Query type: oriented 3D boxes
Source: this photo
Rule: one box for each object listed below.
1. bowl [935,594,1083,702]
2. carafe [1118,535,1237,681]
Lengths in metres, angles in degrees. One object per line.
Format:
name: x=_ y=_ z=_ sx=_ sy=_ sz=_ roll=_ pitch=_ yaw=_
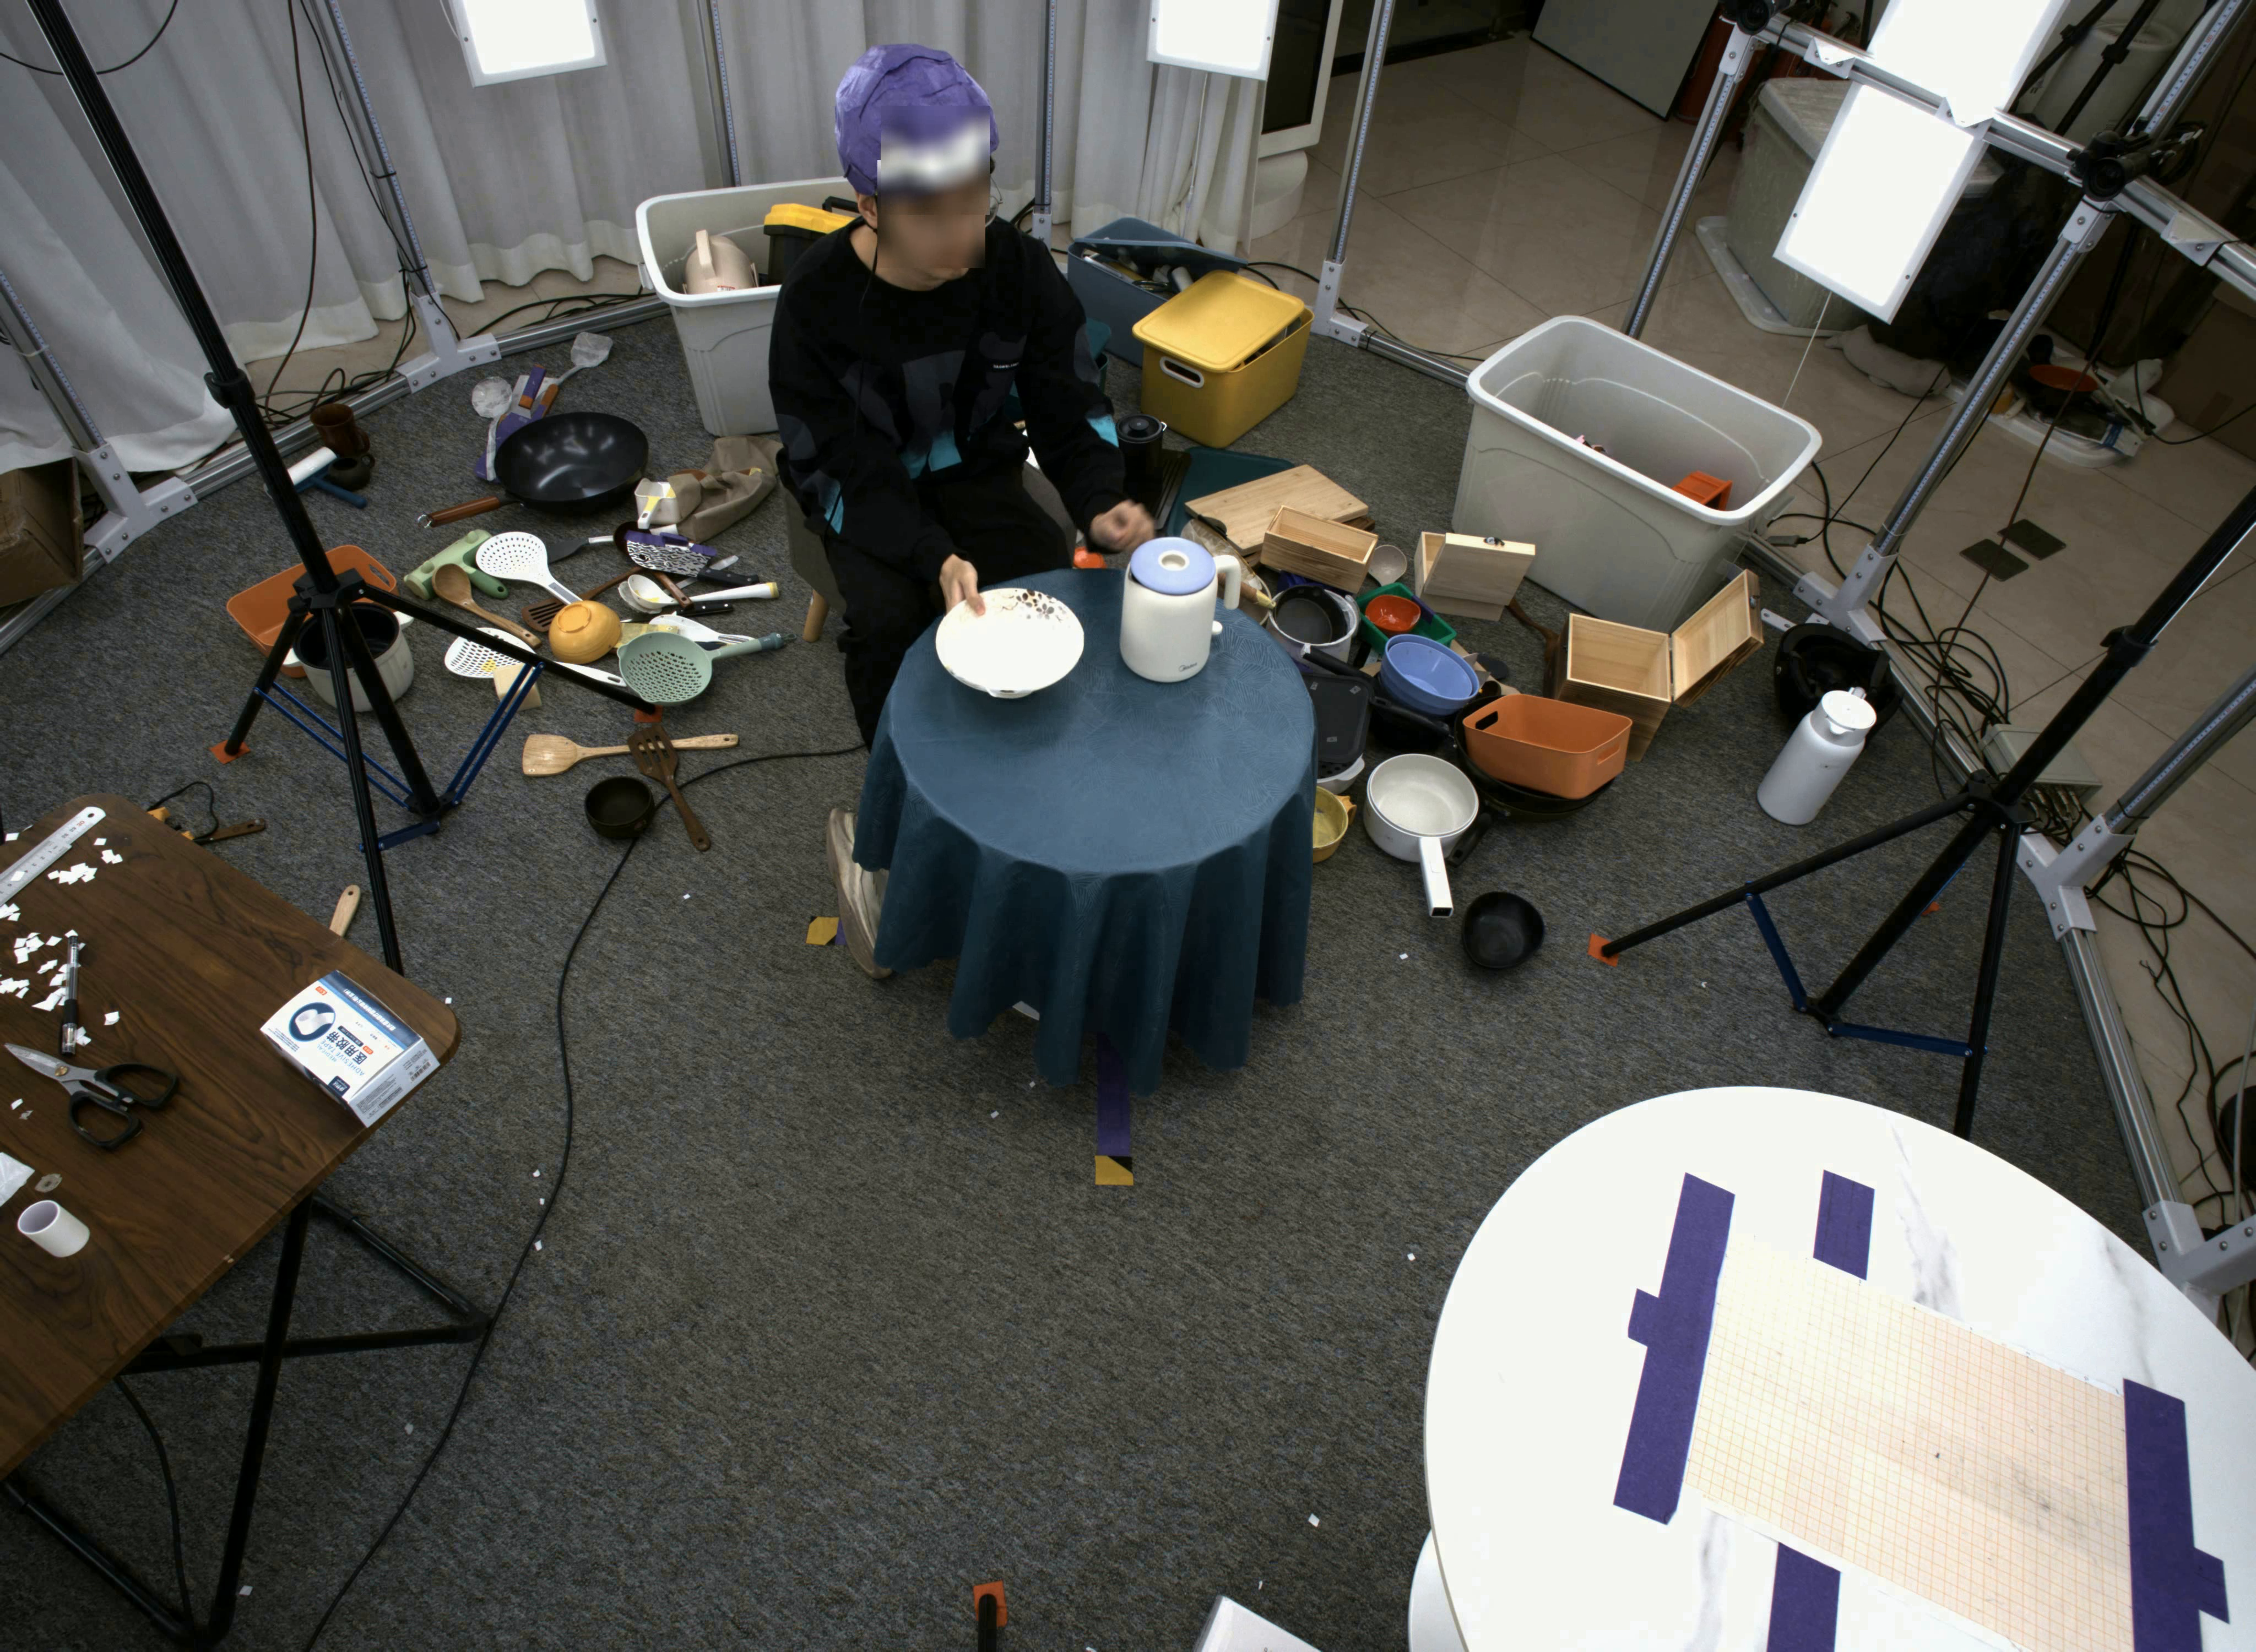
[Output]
bowl: x=-0.165 y=-0.232 z=1.802 sx=0.204 sy=0.076 sz=0.209 roll=0 pitch=48 yaw=-1
carafe: x=0.077 y=-0.317 z=1.838 sx=0.191 sy=0.178 sz=0.135 roll=-21 pitch=55 yaw=-23
